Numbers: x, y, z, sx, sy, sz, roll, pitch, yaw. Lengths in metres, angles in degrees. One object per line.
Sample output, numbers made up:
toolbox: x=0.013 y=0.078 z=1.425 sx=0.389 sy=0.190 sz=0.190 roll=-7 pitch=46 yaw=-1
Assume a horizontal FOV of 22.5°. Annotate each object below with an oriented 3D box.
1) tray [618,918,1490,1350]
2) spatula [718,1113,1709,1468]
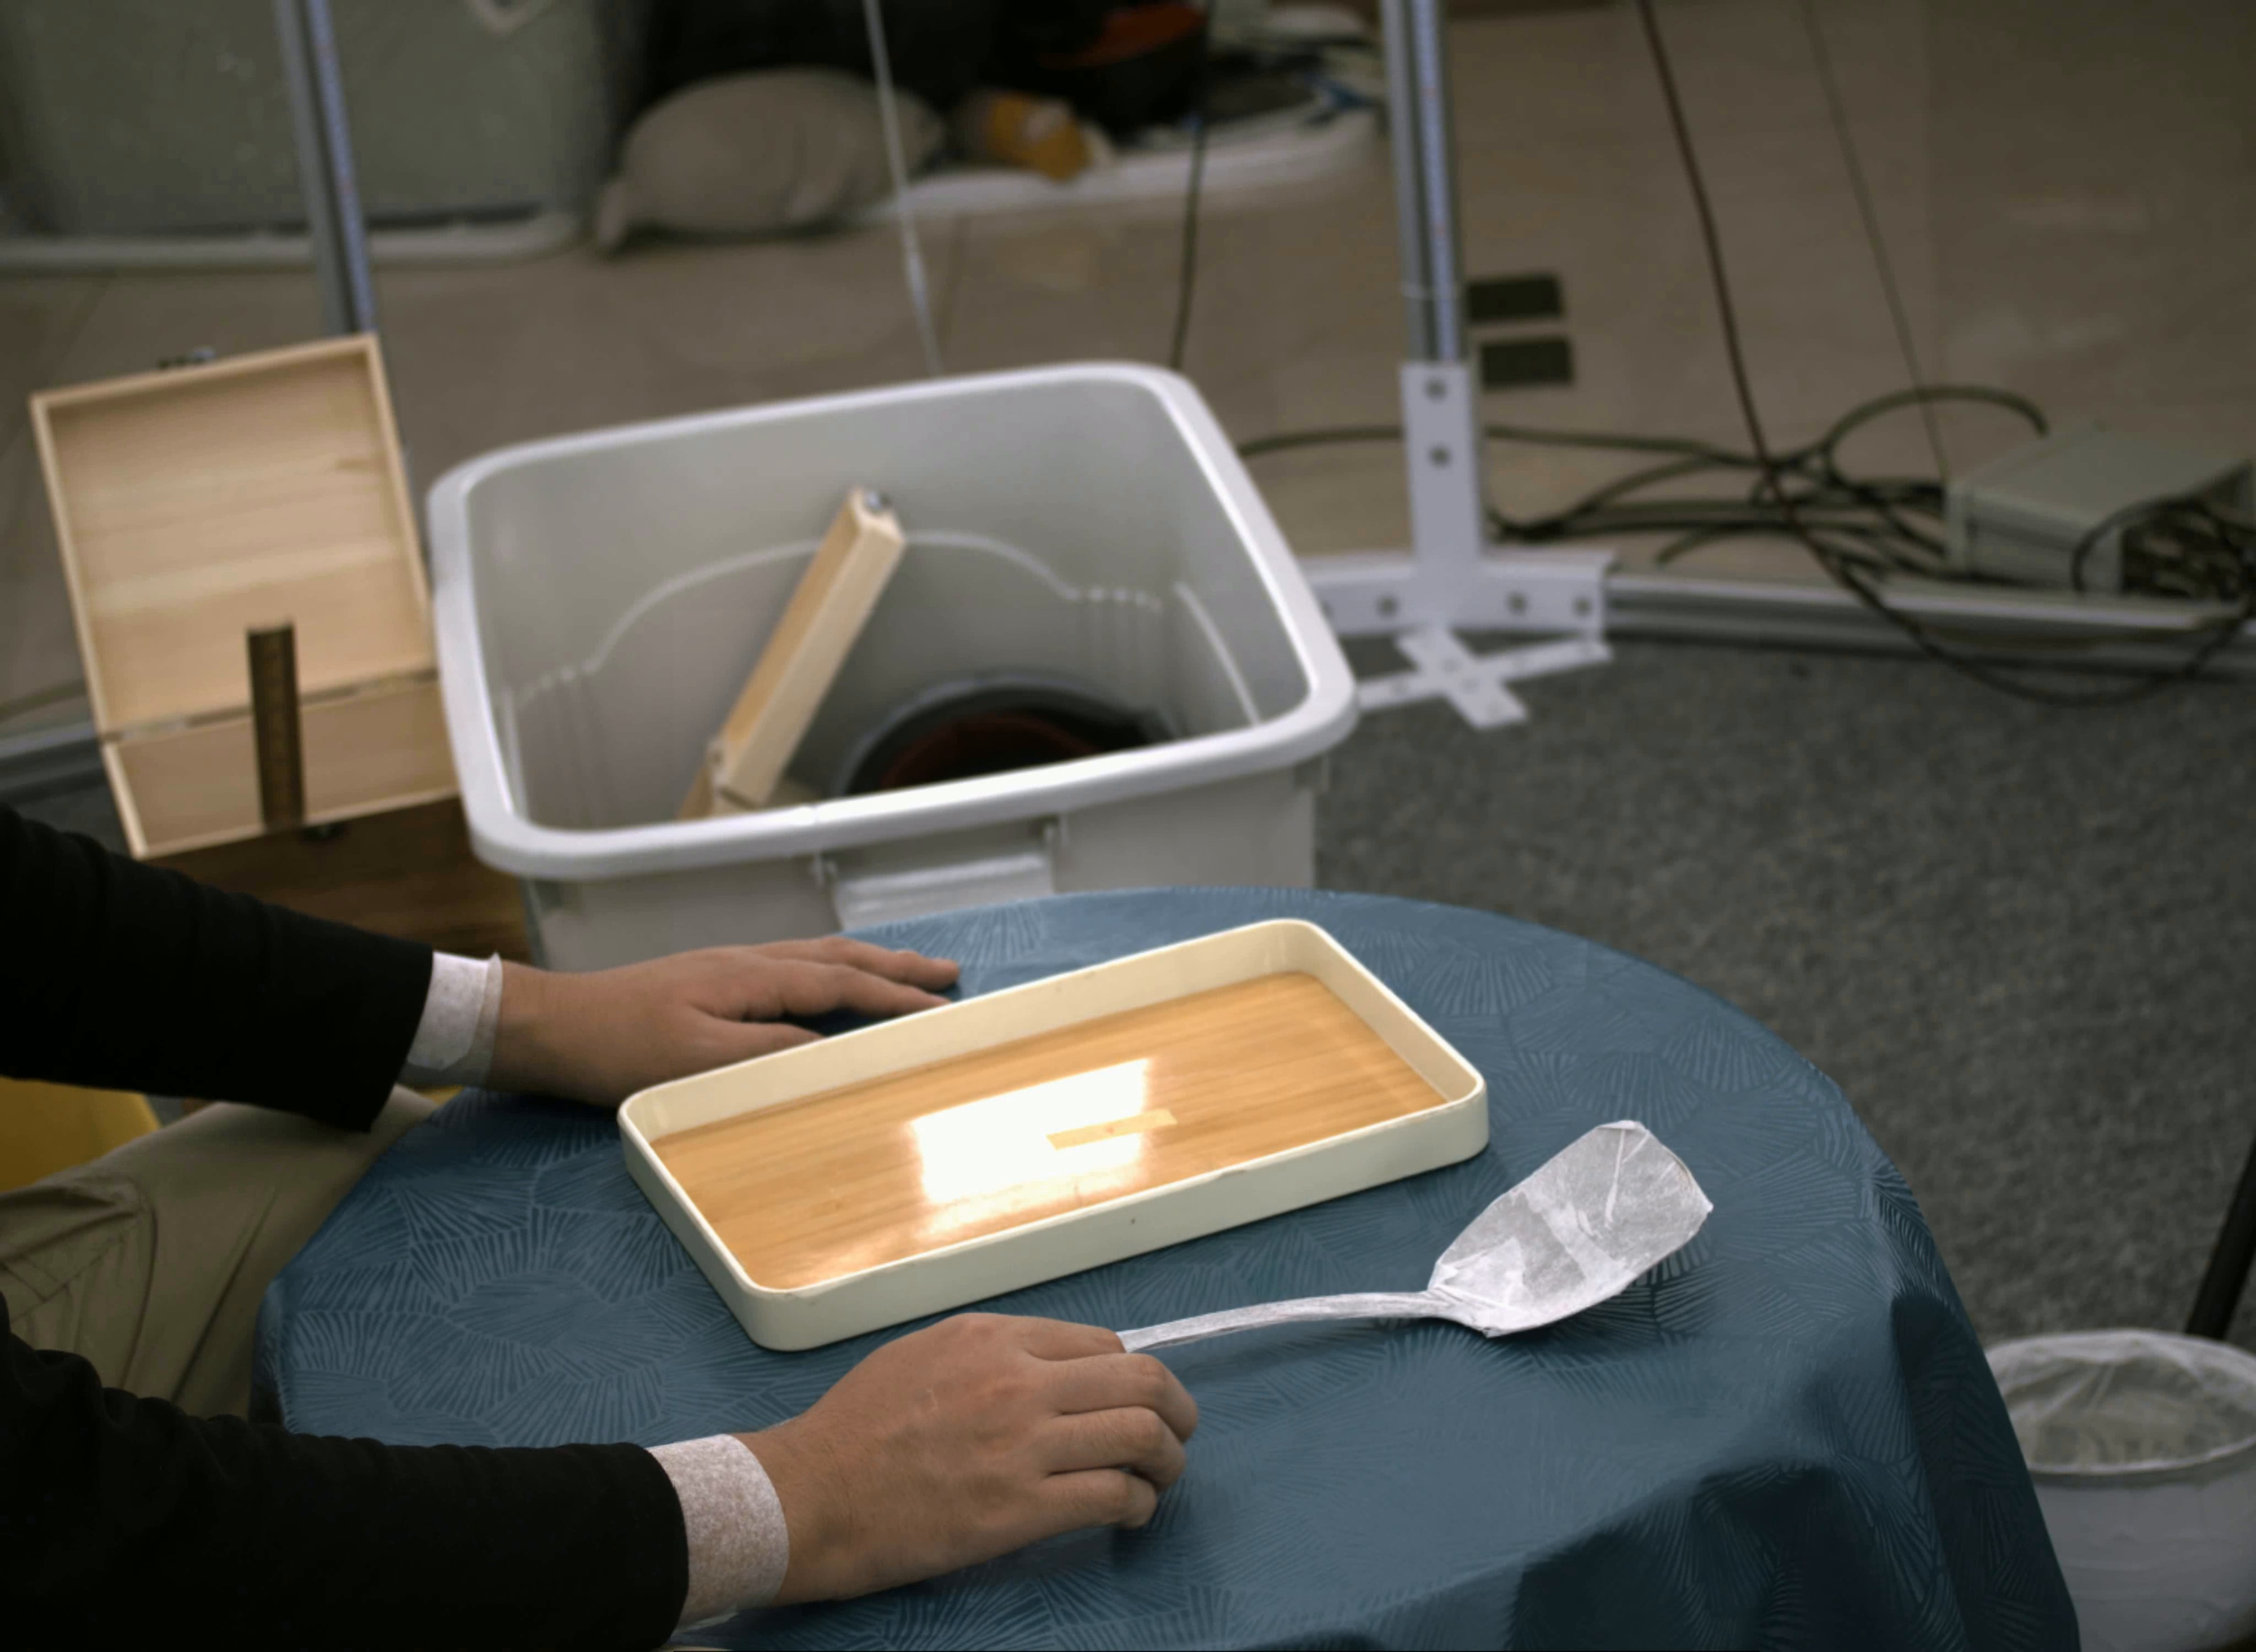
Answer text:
tray: x=-0.030 y=0.115 z=2.176 sx=0.299 sy=0.028 sz=0.189 roll=-15 pitch=26 yaw=-17
spatula: x=0.030 y=0.173 z=2.020 sx=0.364 sy=0.045 sz=0.097 roll=-11 pitch=26 yaw=-11
